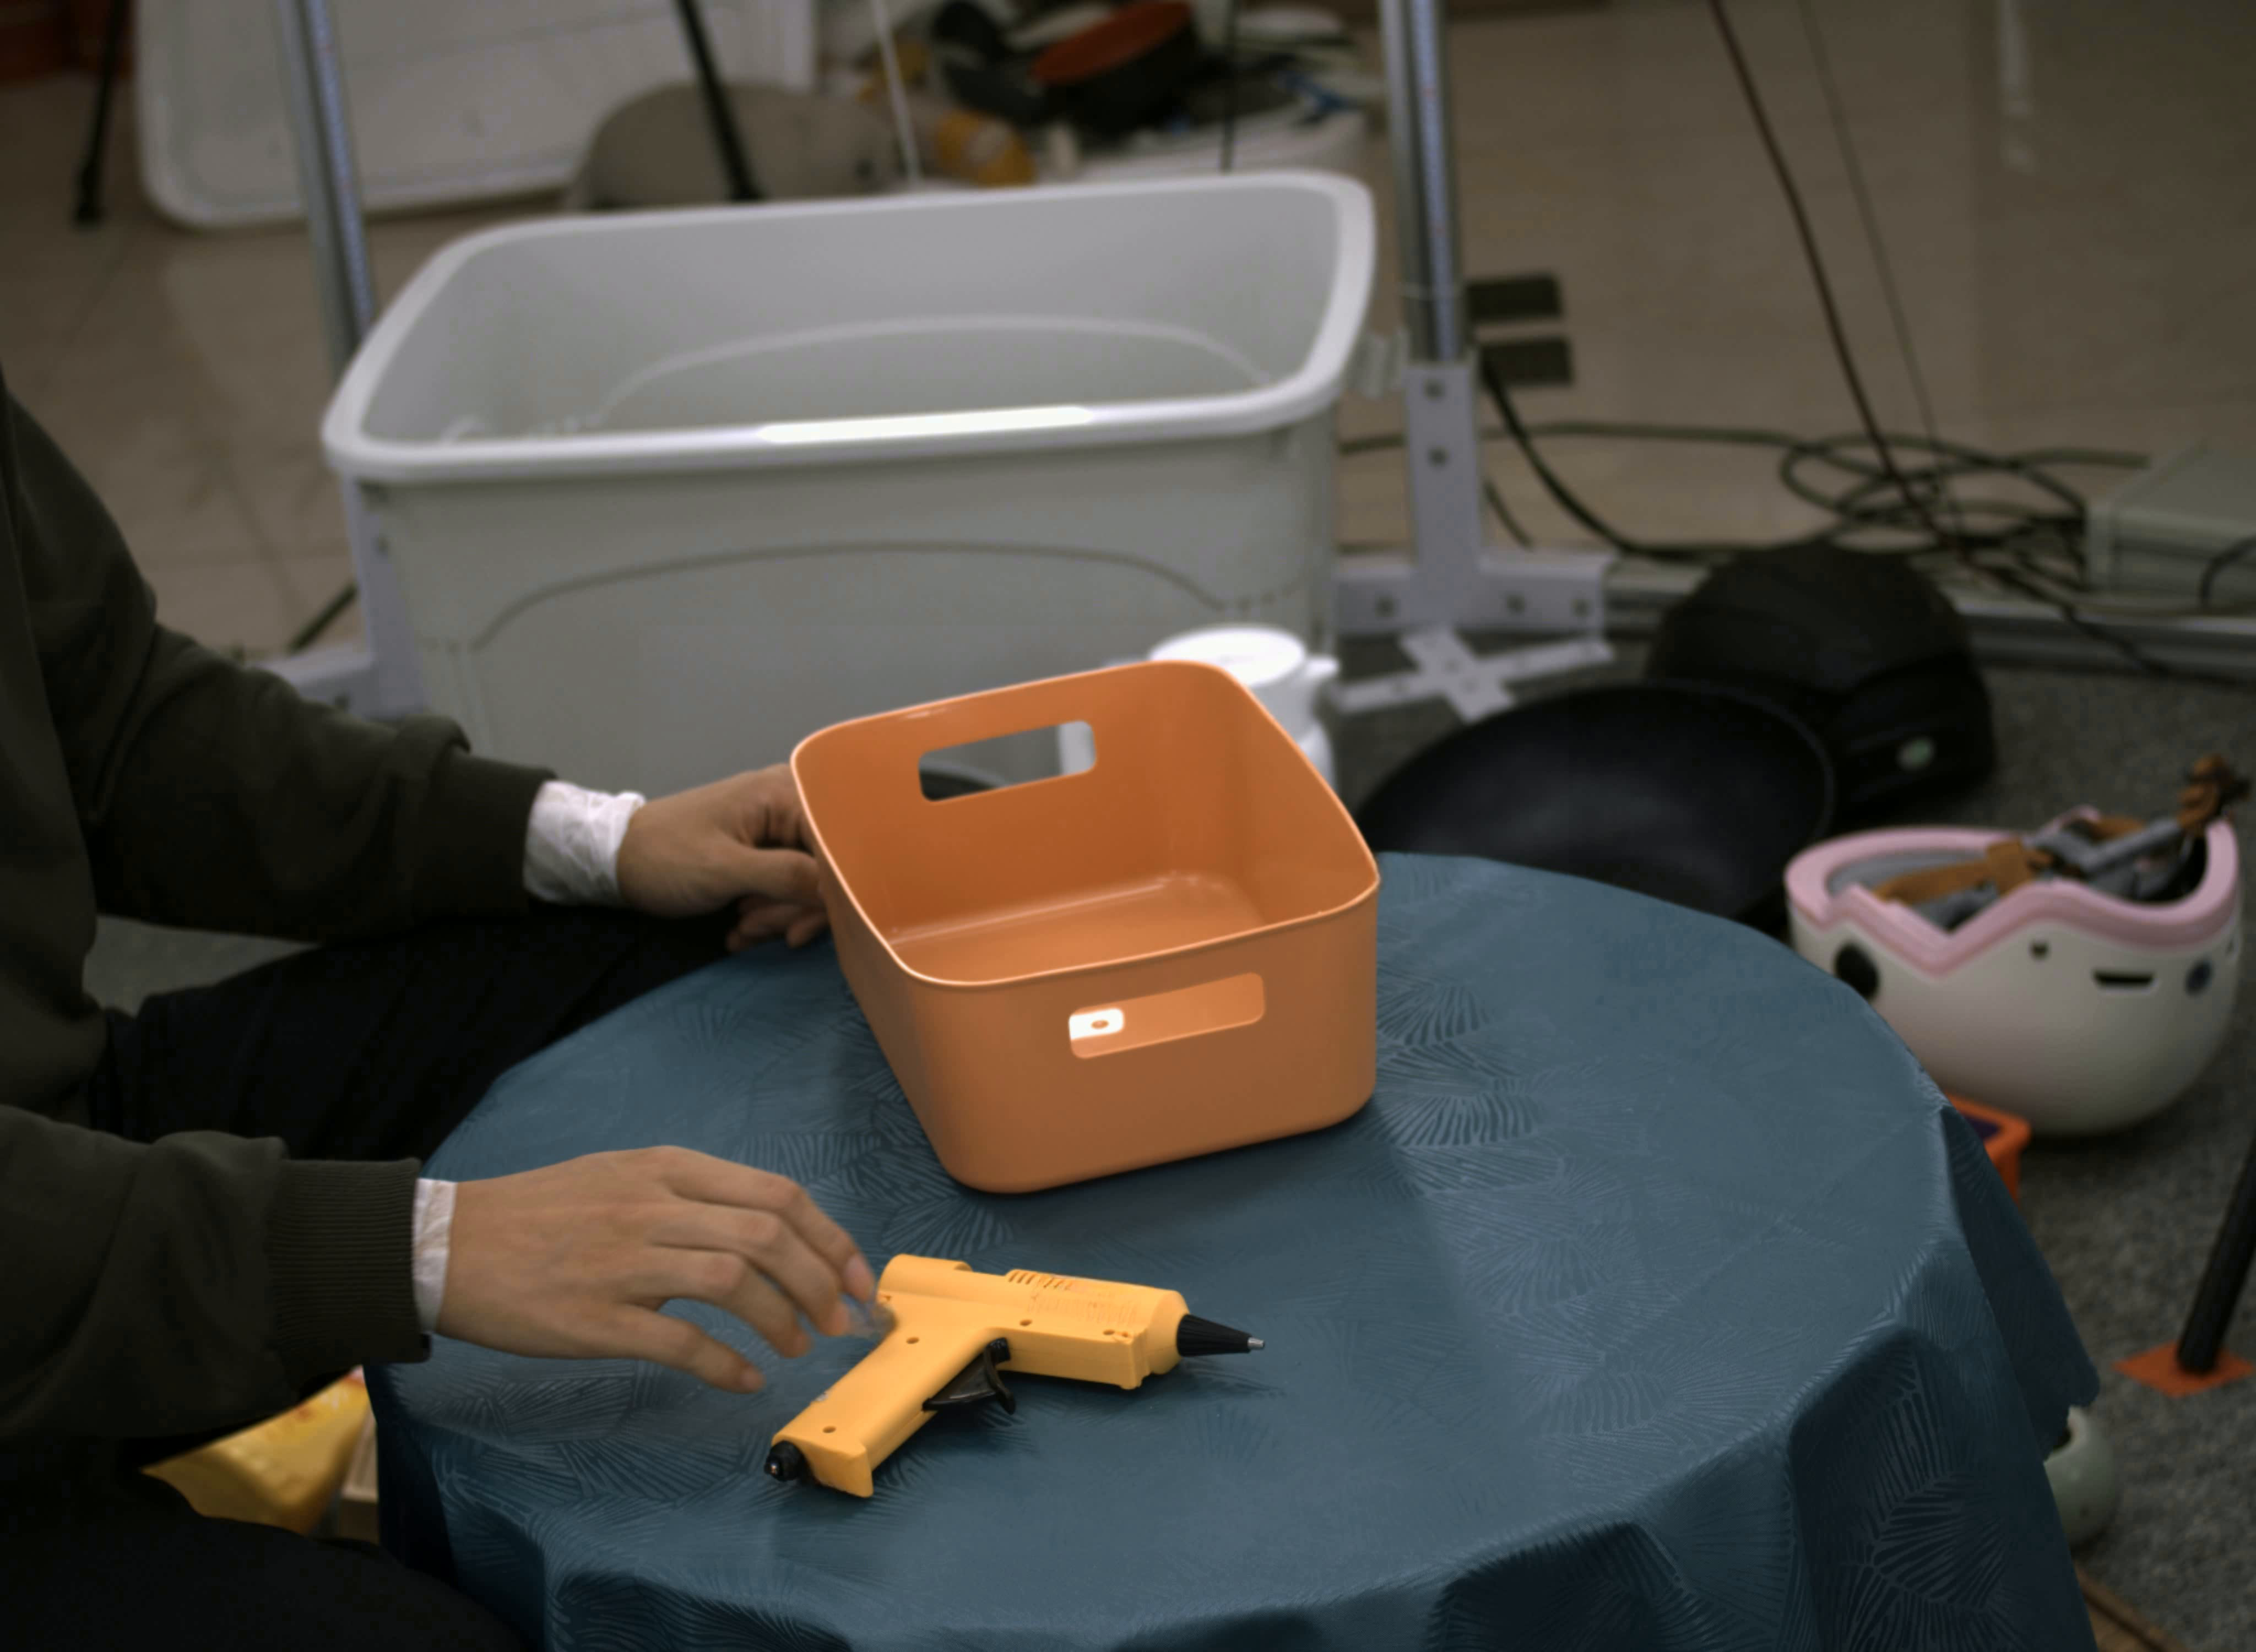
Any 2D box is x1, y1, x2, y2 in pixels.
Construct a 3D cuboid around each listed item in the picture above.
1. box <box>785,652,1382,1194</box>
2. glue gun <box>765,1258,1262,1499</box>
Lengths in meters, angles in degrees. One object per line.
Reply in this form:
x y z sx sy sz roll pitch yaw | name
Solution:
-0.018 0.038 2.245 0.199 0.104 0.269 -12 26 -12 | box
-0.036 0.199 2.001 0.151 0.031 0.131 3 28 20 | glue gun
